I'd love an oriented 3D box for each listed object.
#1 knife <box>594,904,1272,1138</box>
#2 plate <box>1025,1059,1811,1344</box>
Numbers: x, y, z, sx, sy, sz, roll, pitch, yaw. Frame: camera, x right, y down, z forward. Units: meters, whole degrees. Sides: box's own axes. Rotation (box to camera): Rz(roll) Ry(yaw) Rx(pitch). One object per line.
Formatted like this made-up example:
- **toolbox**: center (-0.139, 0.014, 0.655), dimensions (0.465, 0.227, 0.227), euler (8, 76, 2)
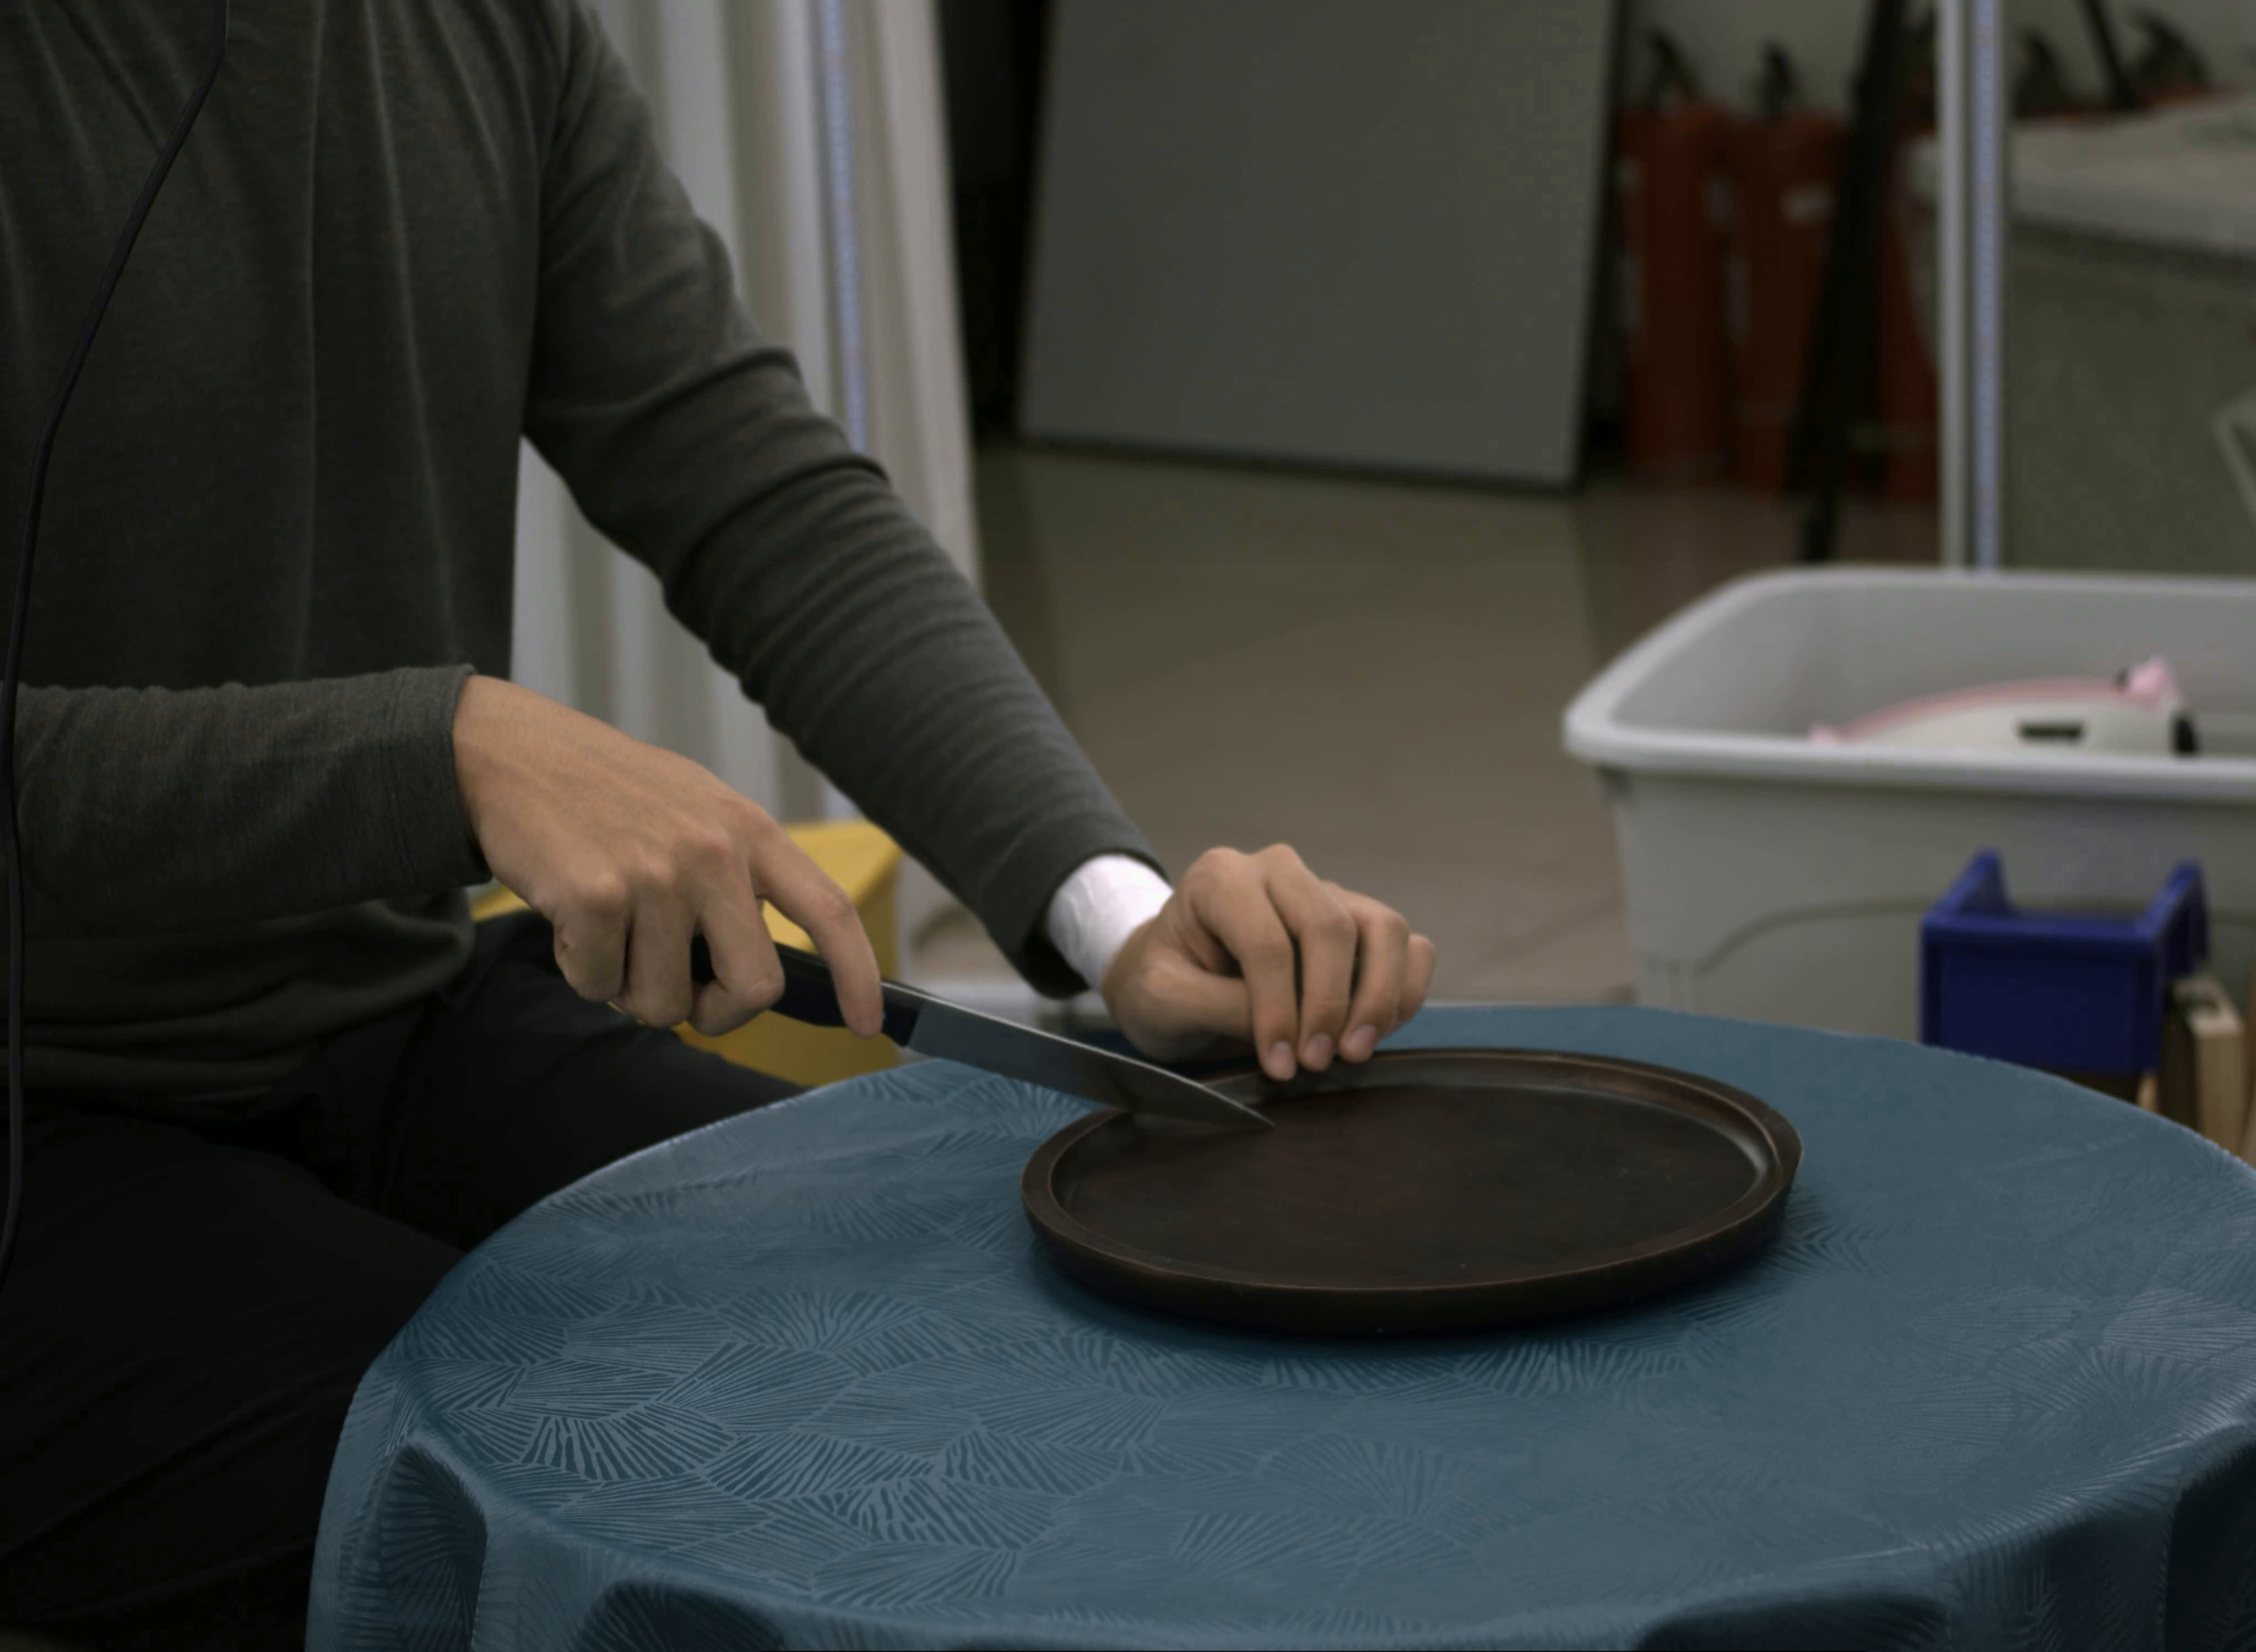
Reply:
- **knife**: center (-0.061, 0.067, 1.780), dimensions (0.235, 0.025, 0.016), euler (18, 29, -5)
- **plate**: center (0.092, 0.117, 1.719), dimensions (0.251, 0.029, 0.255), euler (-3, 14, 0)
